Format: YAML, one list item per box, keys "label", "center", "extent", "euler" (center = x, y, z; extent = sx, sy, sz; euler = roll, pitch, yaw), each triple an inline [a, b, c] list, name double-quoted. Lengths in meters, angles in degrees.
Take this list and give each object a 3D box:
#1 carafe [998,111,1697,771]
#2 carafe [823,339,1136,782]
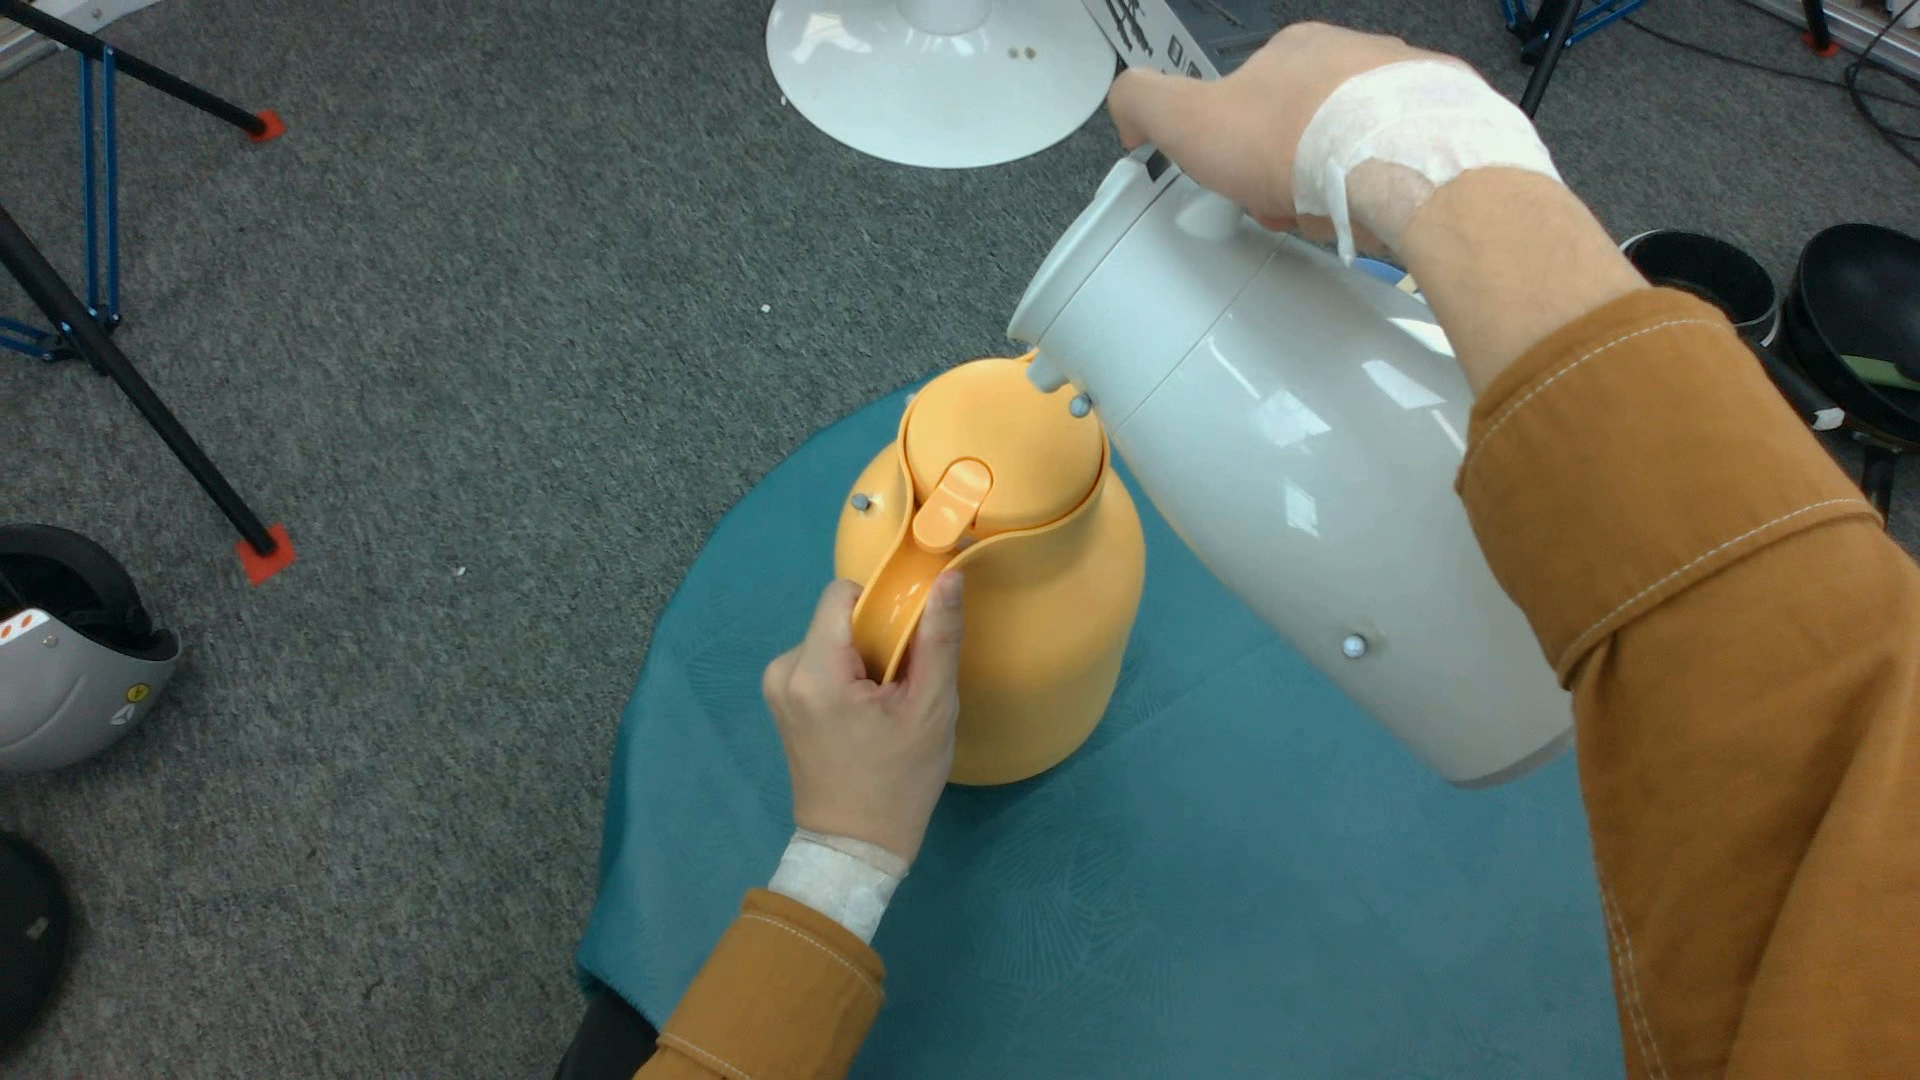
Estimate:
- label: "carafe"
  center: [0.142, -0.052, 0.514]
  extent: [0.248, 0.167, 0.133]
  euler: [41, 45, 1]
- label: "carafe"
  center: [-0.003, 0.025, 0.711]
  extent: [0.163, 0.259, 0.203]
  euler: [31, 61, 16]
